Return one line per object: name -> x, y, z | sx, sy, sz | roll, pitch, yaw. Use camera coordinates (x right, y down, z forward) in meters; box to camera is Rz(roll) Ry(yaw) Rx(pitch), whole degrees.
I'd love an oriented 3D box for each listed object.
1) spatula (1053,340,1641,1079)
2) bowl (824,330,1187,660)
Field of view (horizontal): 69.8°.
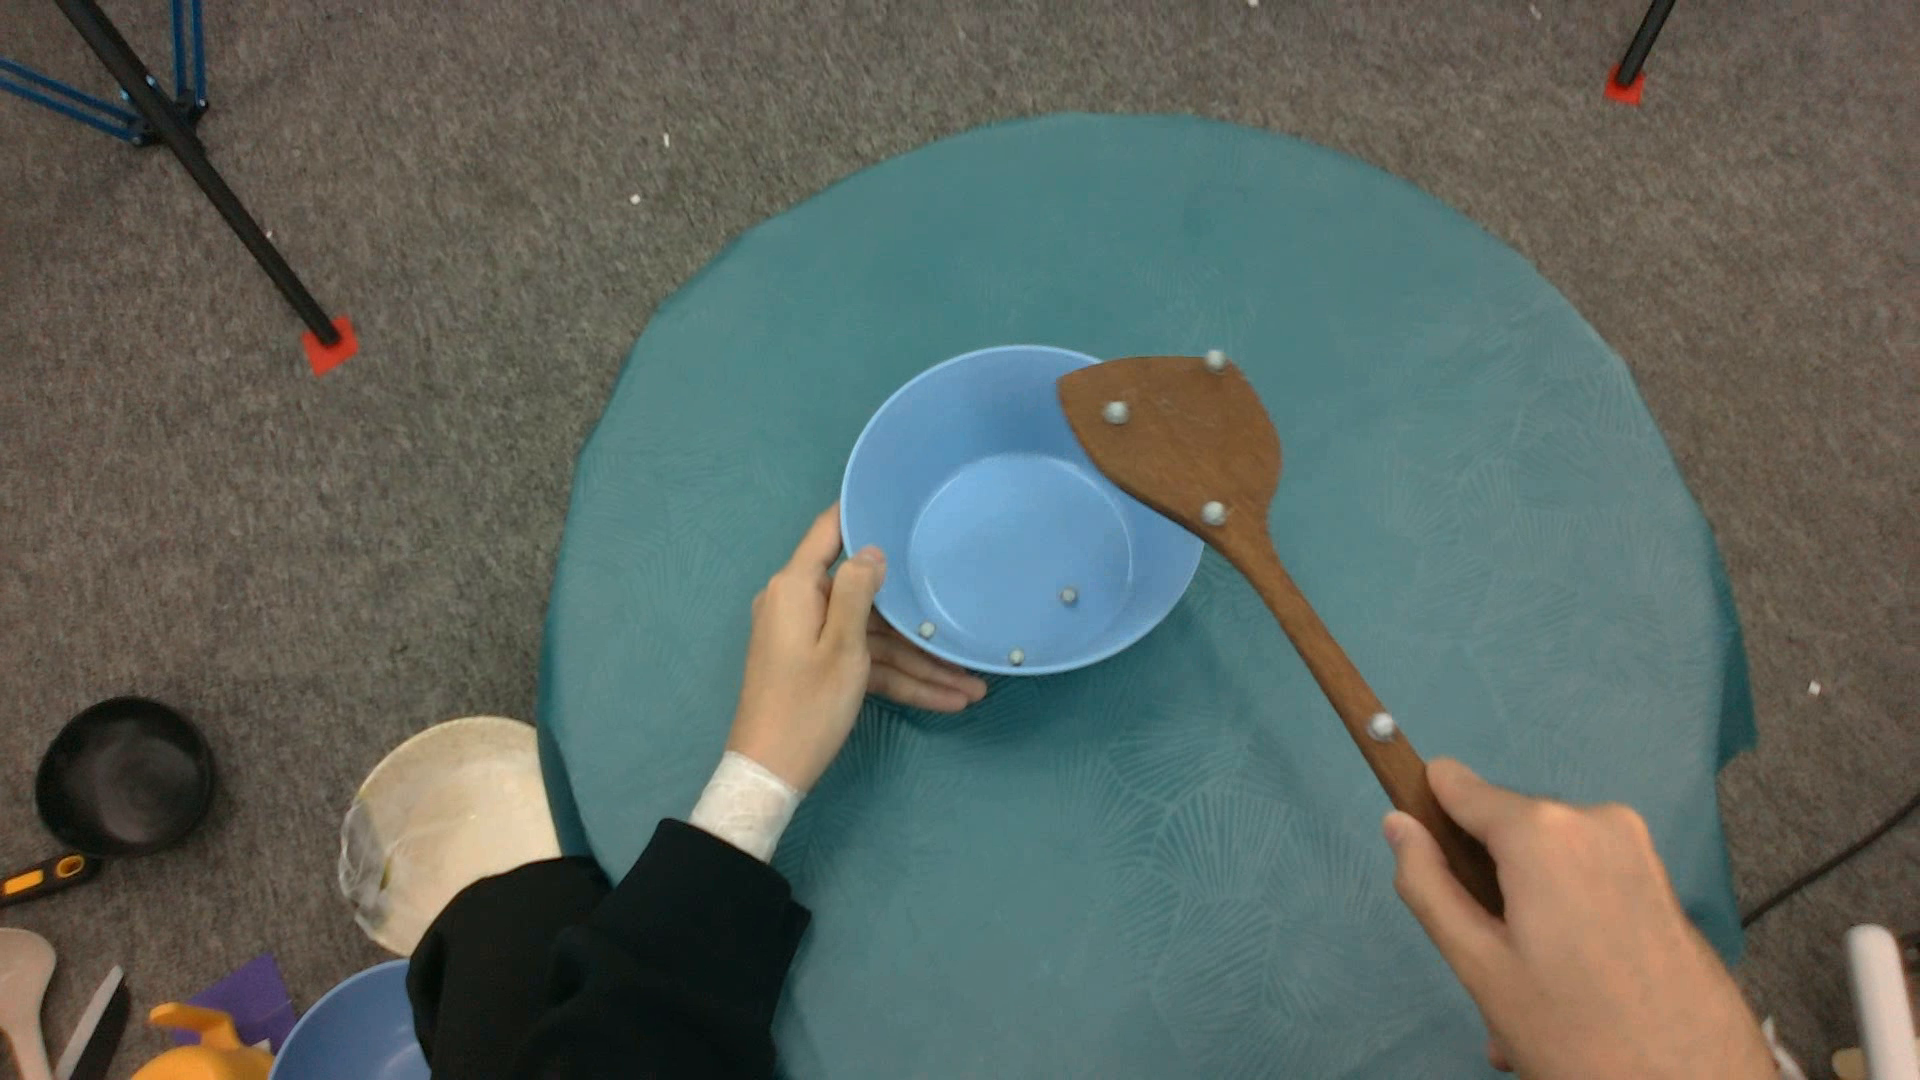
spatula -> 0.139, 0.050, 0.510 | 0.096, 0.015, 0.387 | -7, 48, -20
bowl -> 0.022, -0.014, 0.689 | 0.176, 0.070, 0.176 | 0, 65, 1
